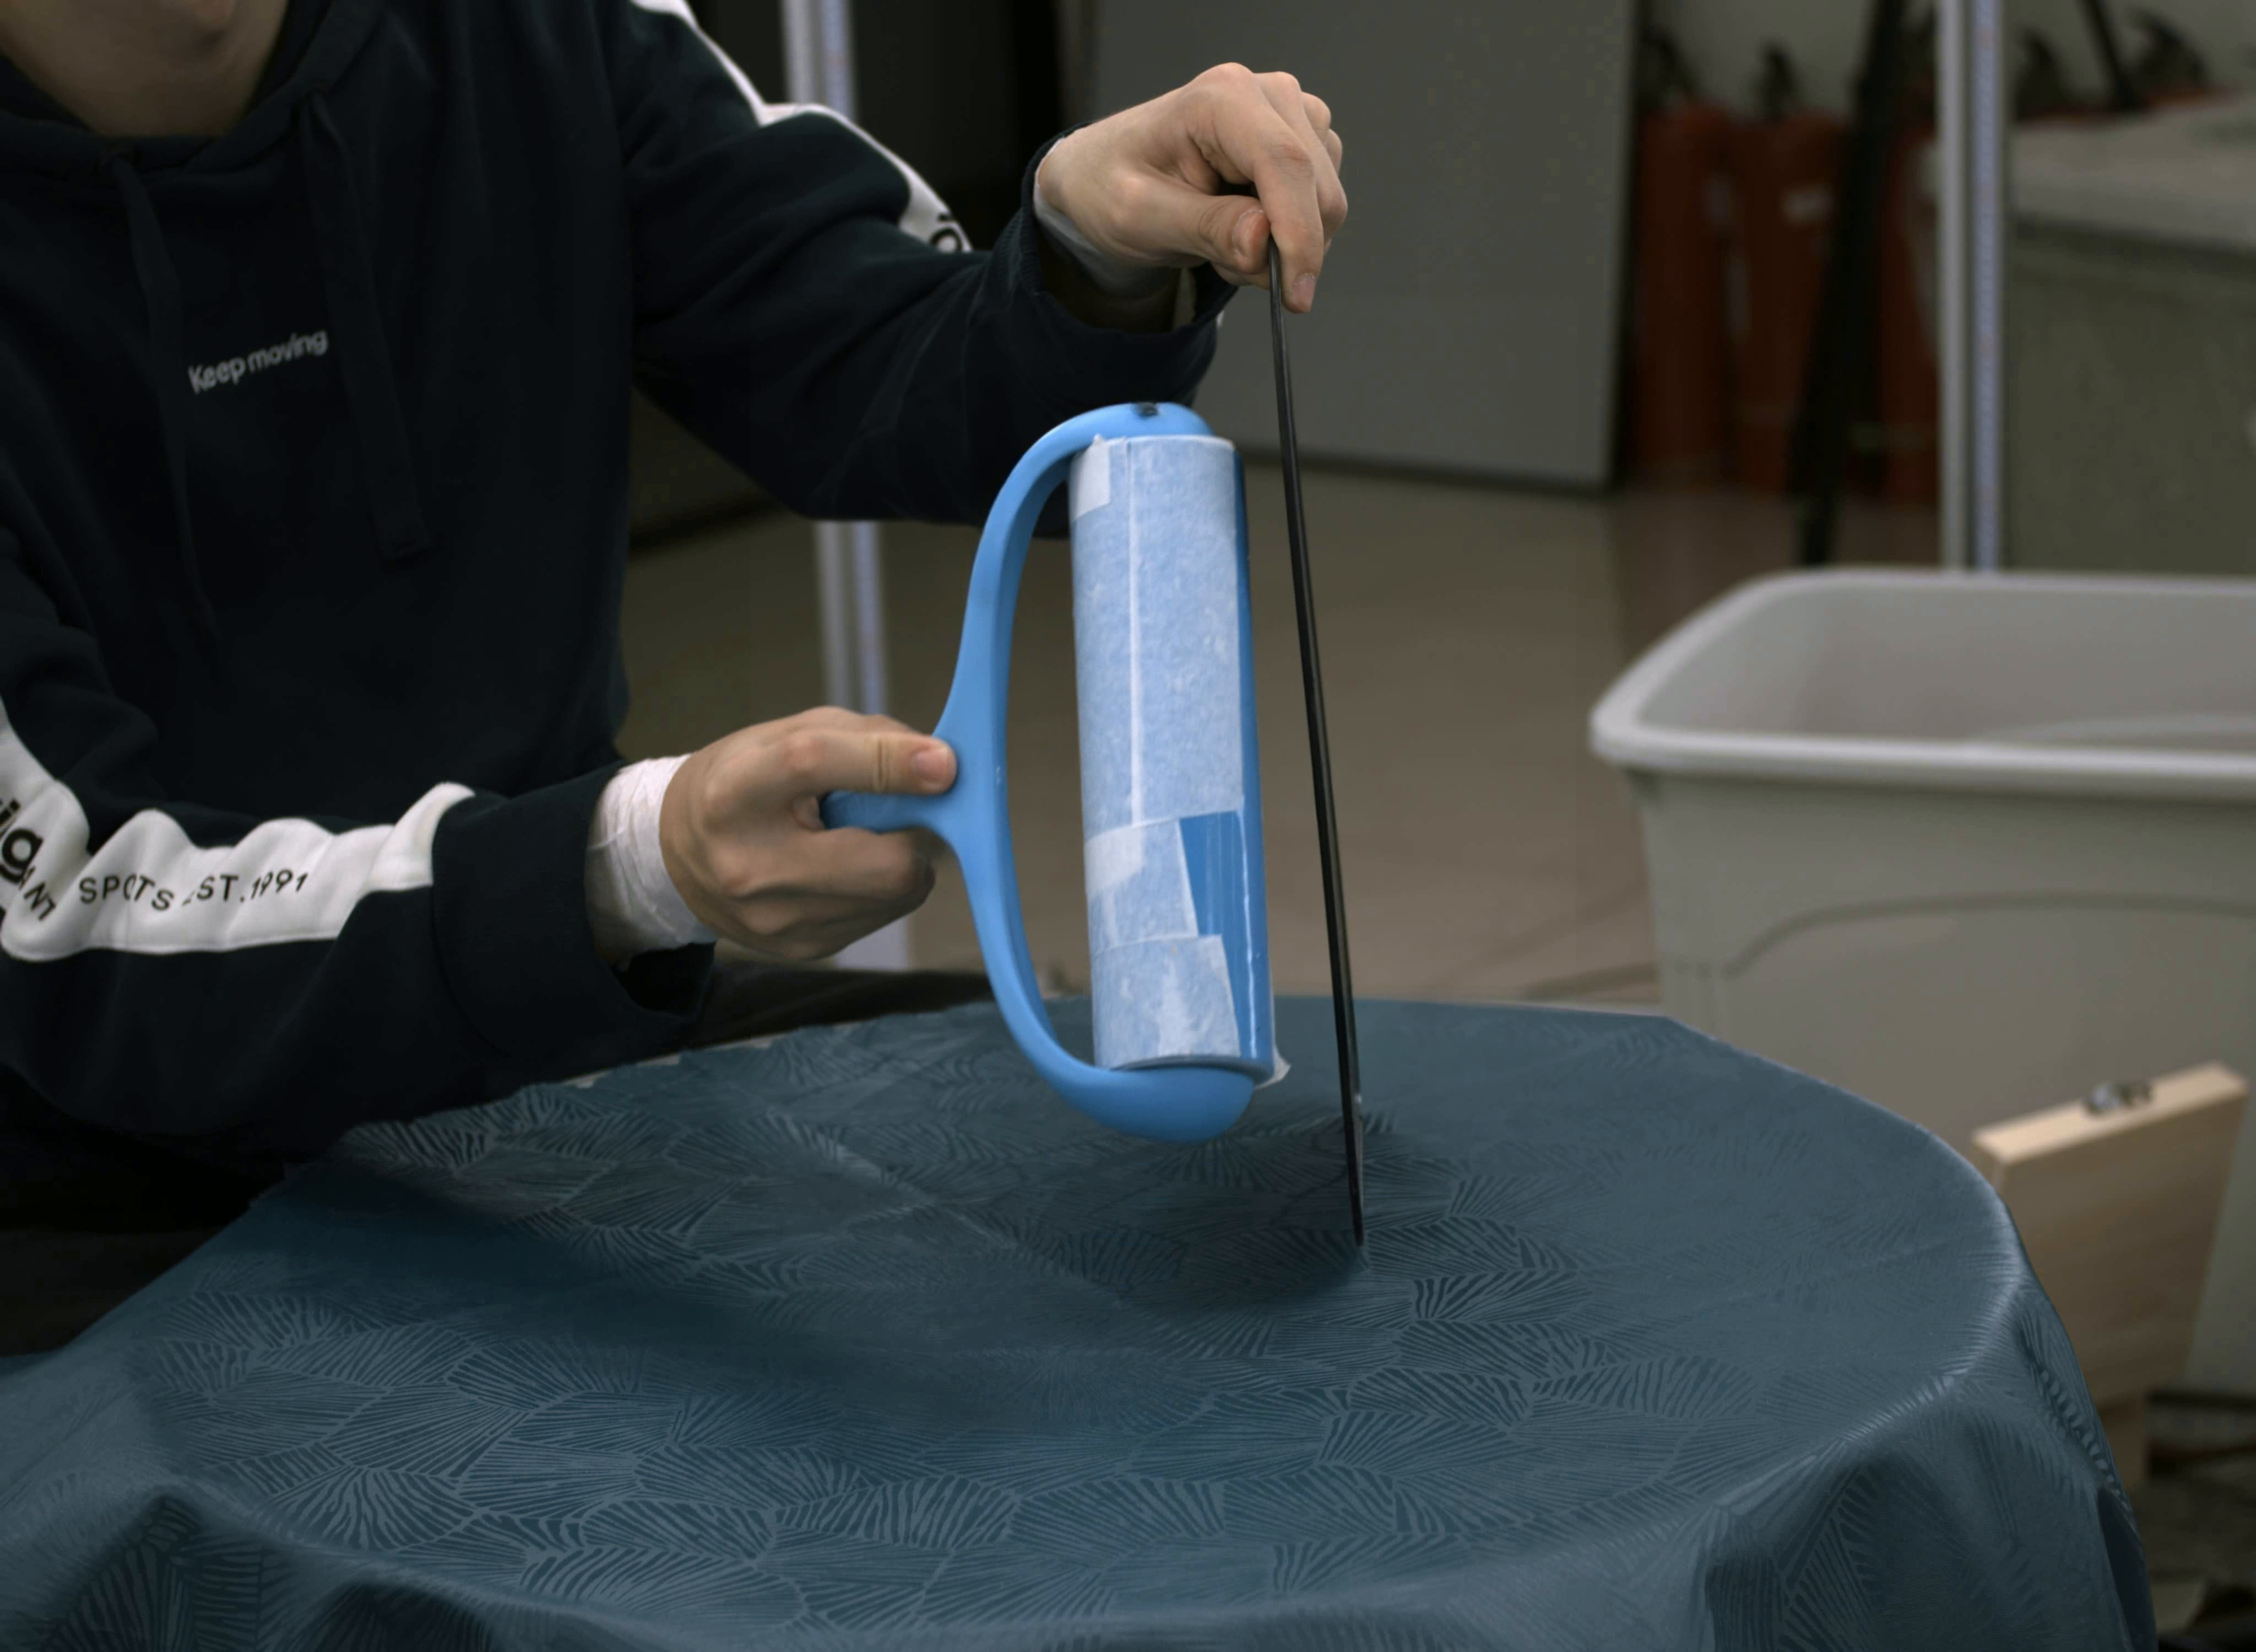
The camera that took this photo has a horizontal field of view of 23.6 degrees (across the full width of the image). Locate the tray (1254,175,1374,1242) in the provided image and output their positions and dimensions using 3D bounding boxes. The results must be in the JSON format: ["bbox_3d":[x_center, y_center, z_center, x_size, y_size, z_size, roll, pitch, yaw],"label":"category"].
[{"bbox_3d":[0.060,-0.042,1.720,0.009,0.329,0.211,-5,11,3],"label":"tray"}]

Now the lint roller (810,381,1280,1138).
[{"bbox_3d":[-0.038,-0.008,1.629,0.181,0.232,0.066,-16,-18,31],"label":"lint roller"}]
